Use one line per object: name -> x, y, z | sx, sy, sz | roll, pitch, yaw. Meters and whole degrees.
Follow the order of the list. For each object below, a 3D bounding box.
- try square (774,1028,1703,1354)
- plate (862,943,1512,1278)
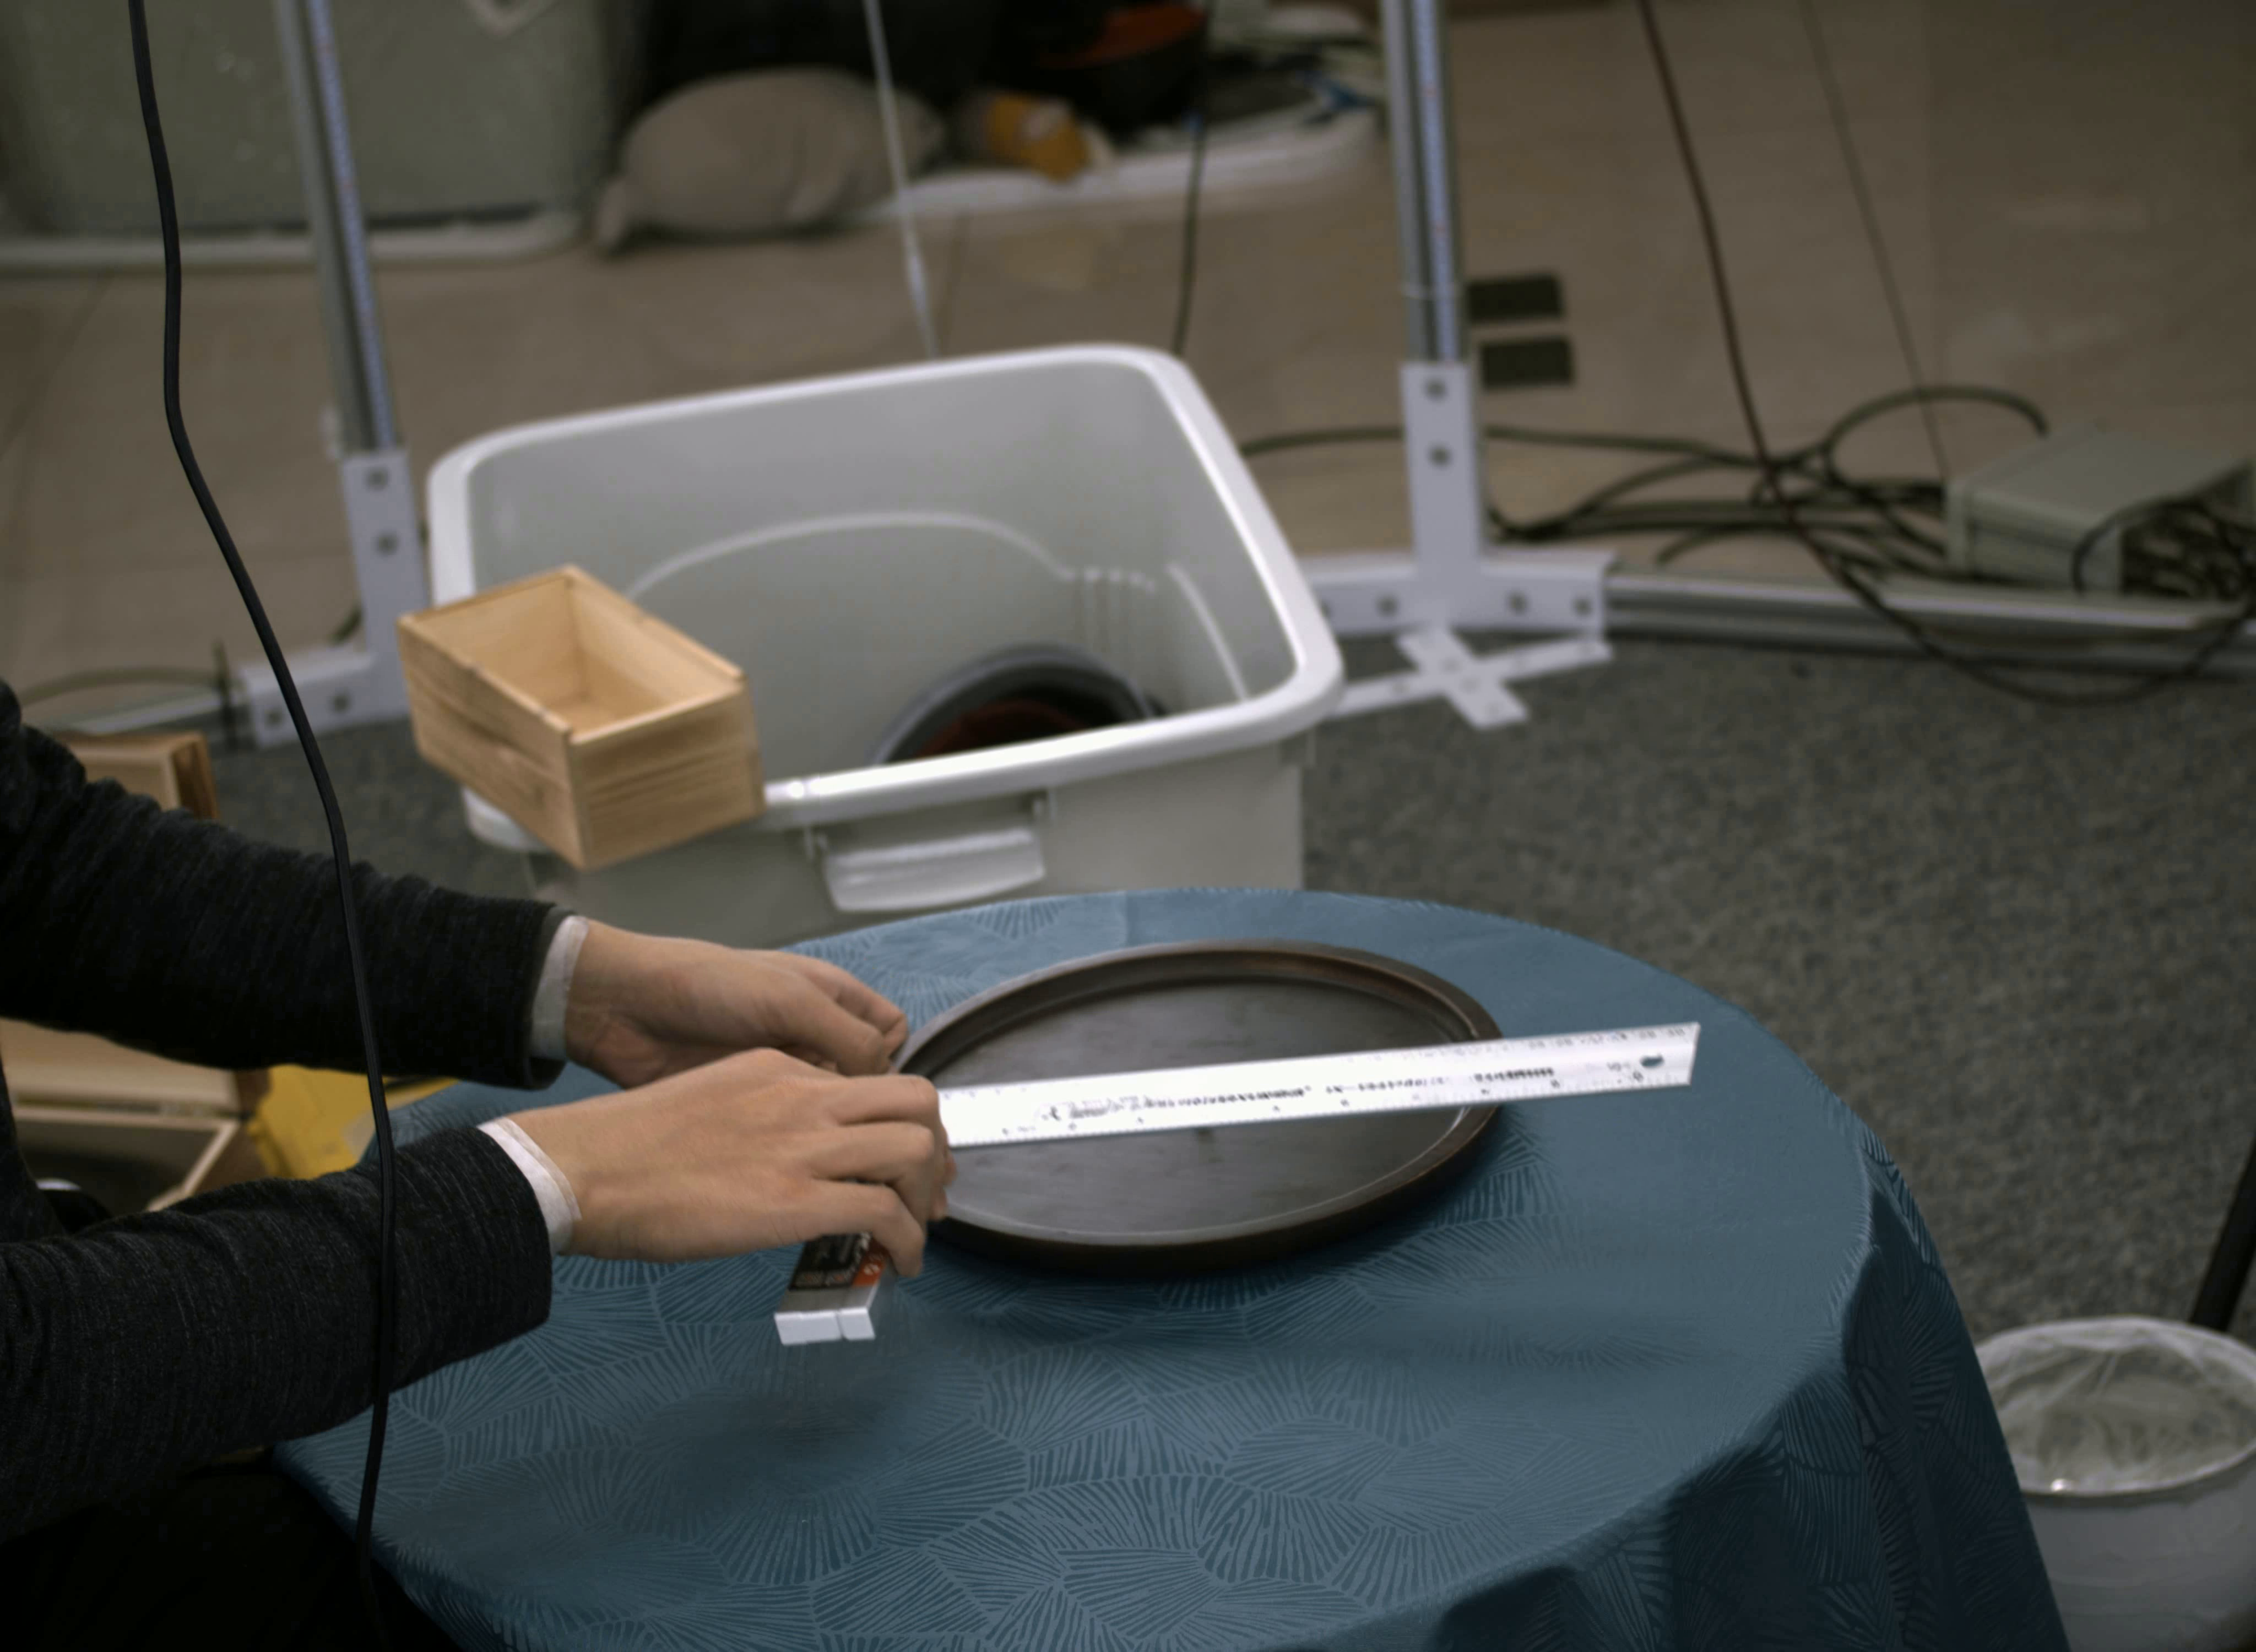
try square -> 0.039, 0.125, 1.984 | 0.312, 0.016, 0.150 | -6, 30, 16
plate -> 0.023, 0.107, 2.182 | 0.254, 0.029, 0.251 | -4, 25, 2
